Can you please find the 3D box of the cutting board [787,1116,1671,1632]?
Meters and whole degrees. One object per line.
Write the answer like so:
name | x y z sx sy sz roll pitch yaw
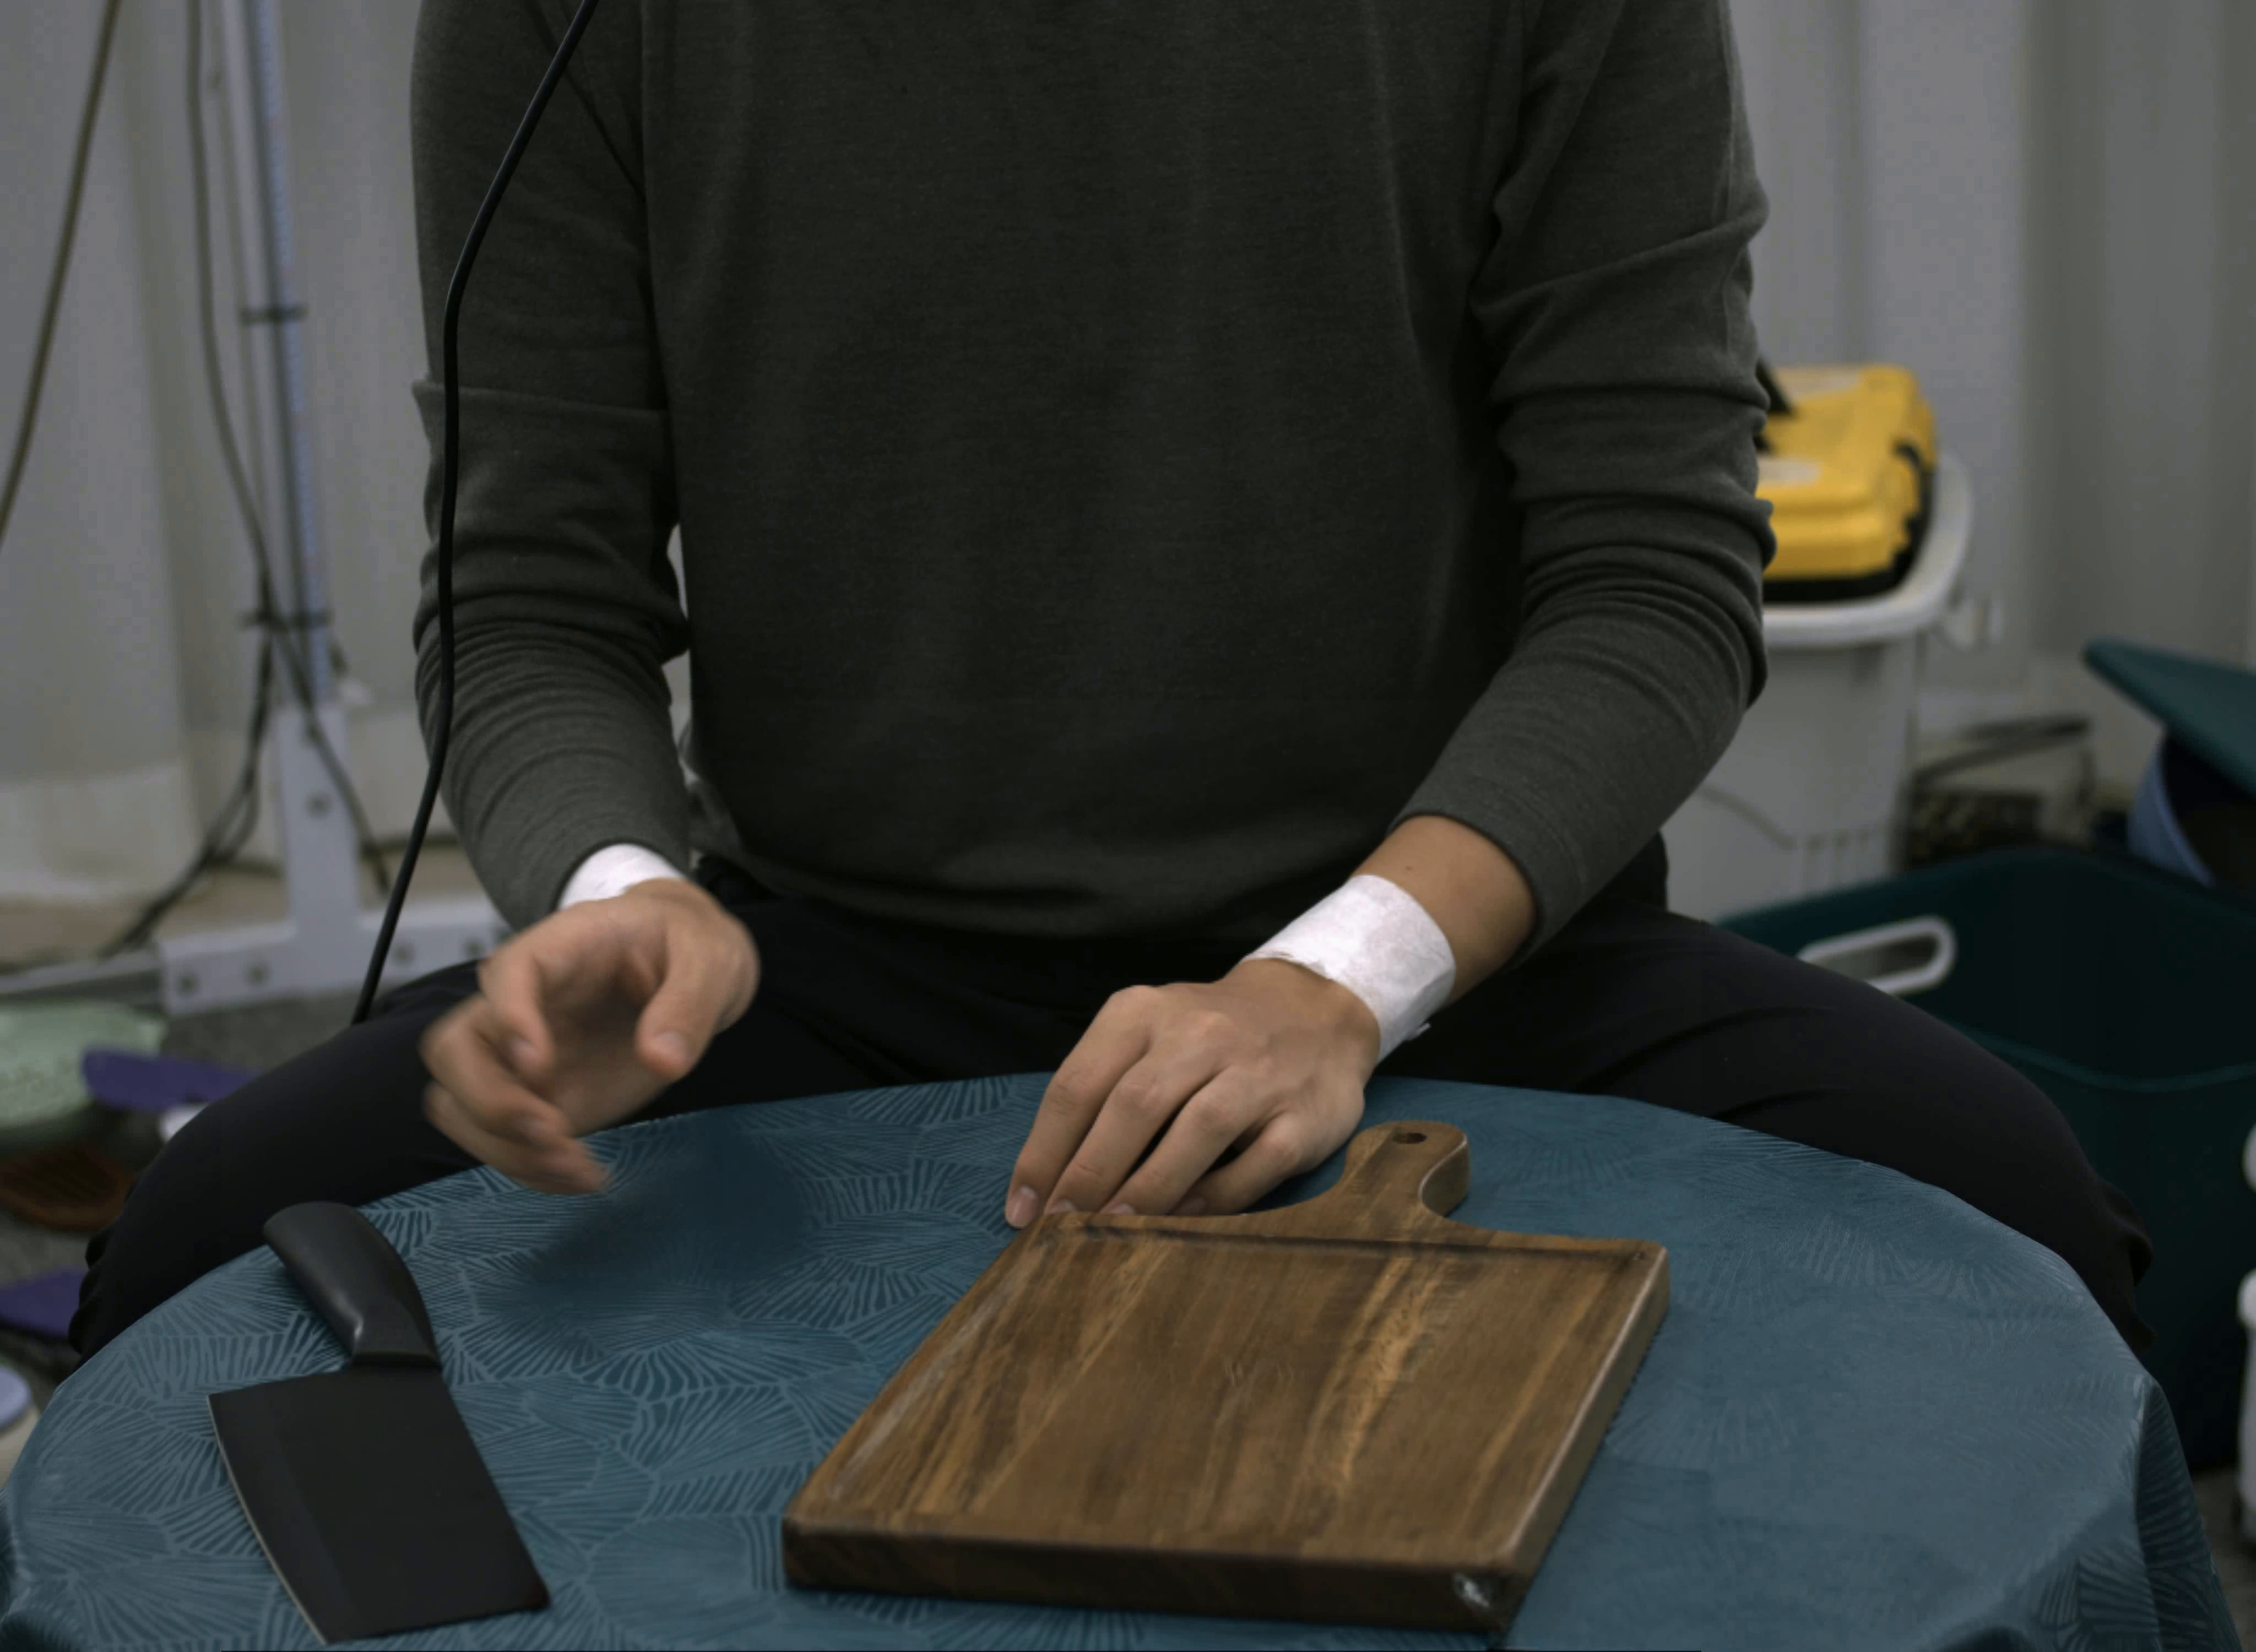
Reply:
cutting board | 0.047 0.146 1.550 0.201 0.023 0.353 2 15 15

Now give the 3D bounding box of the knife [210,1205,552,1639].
knife | -0.219 0.165 1.542 0.080 0.021 0.305 -7 17 -11
